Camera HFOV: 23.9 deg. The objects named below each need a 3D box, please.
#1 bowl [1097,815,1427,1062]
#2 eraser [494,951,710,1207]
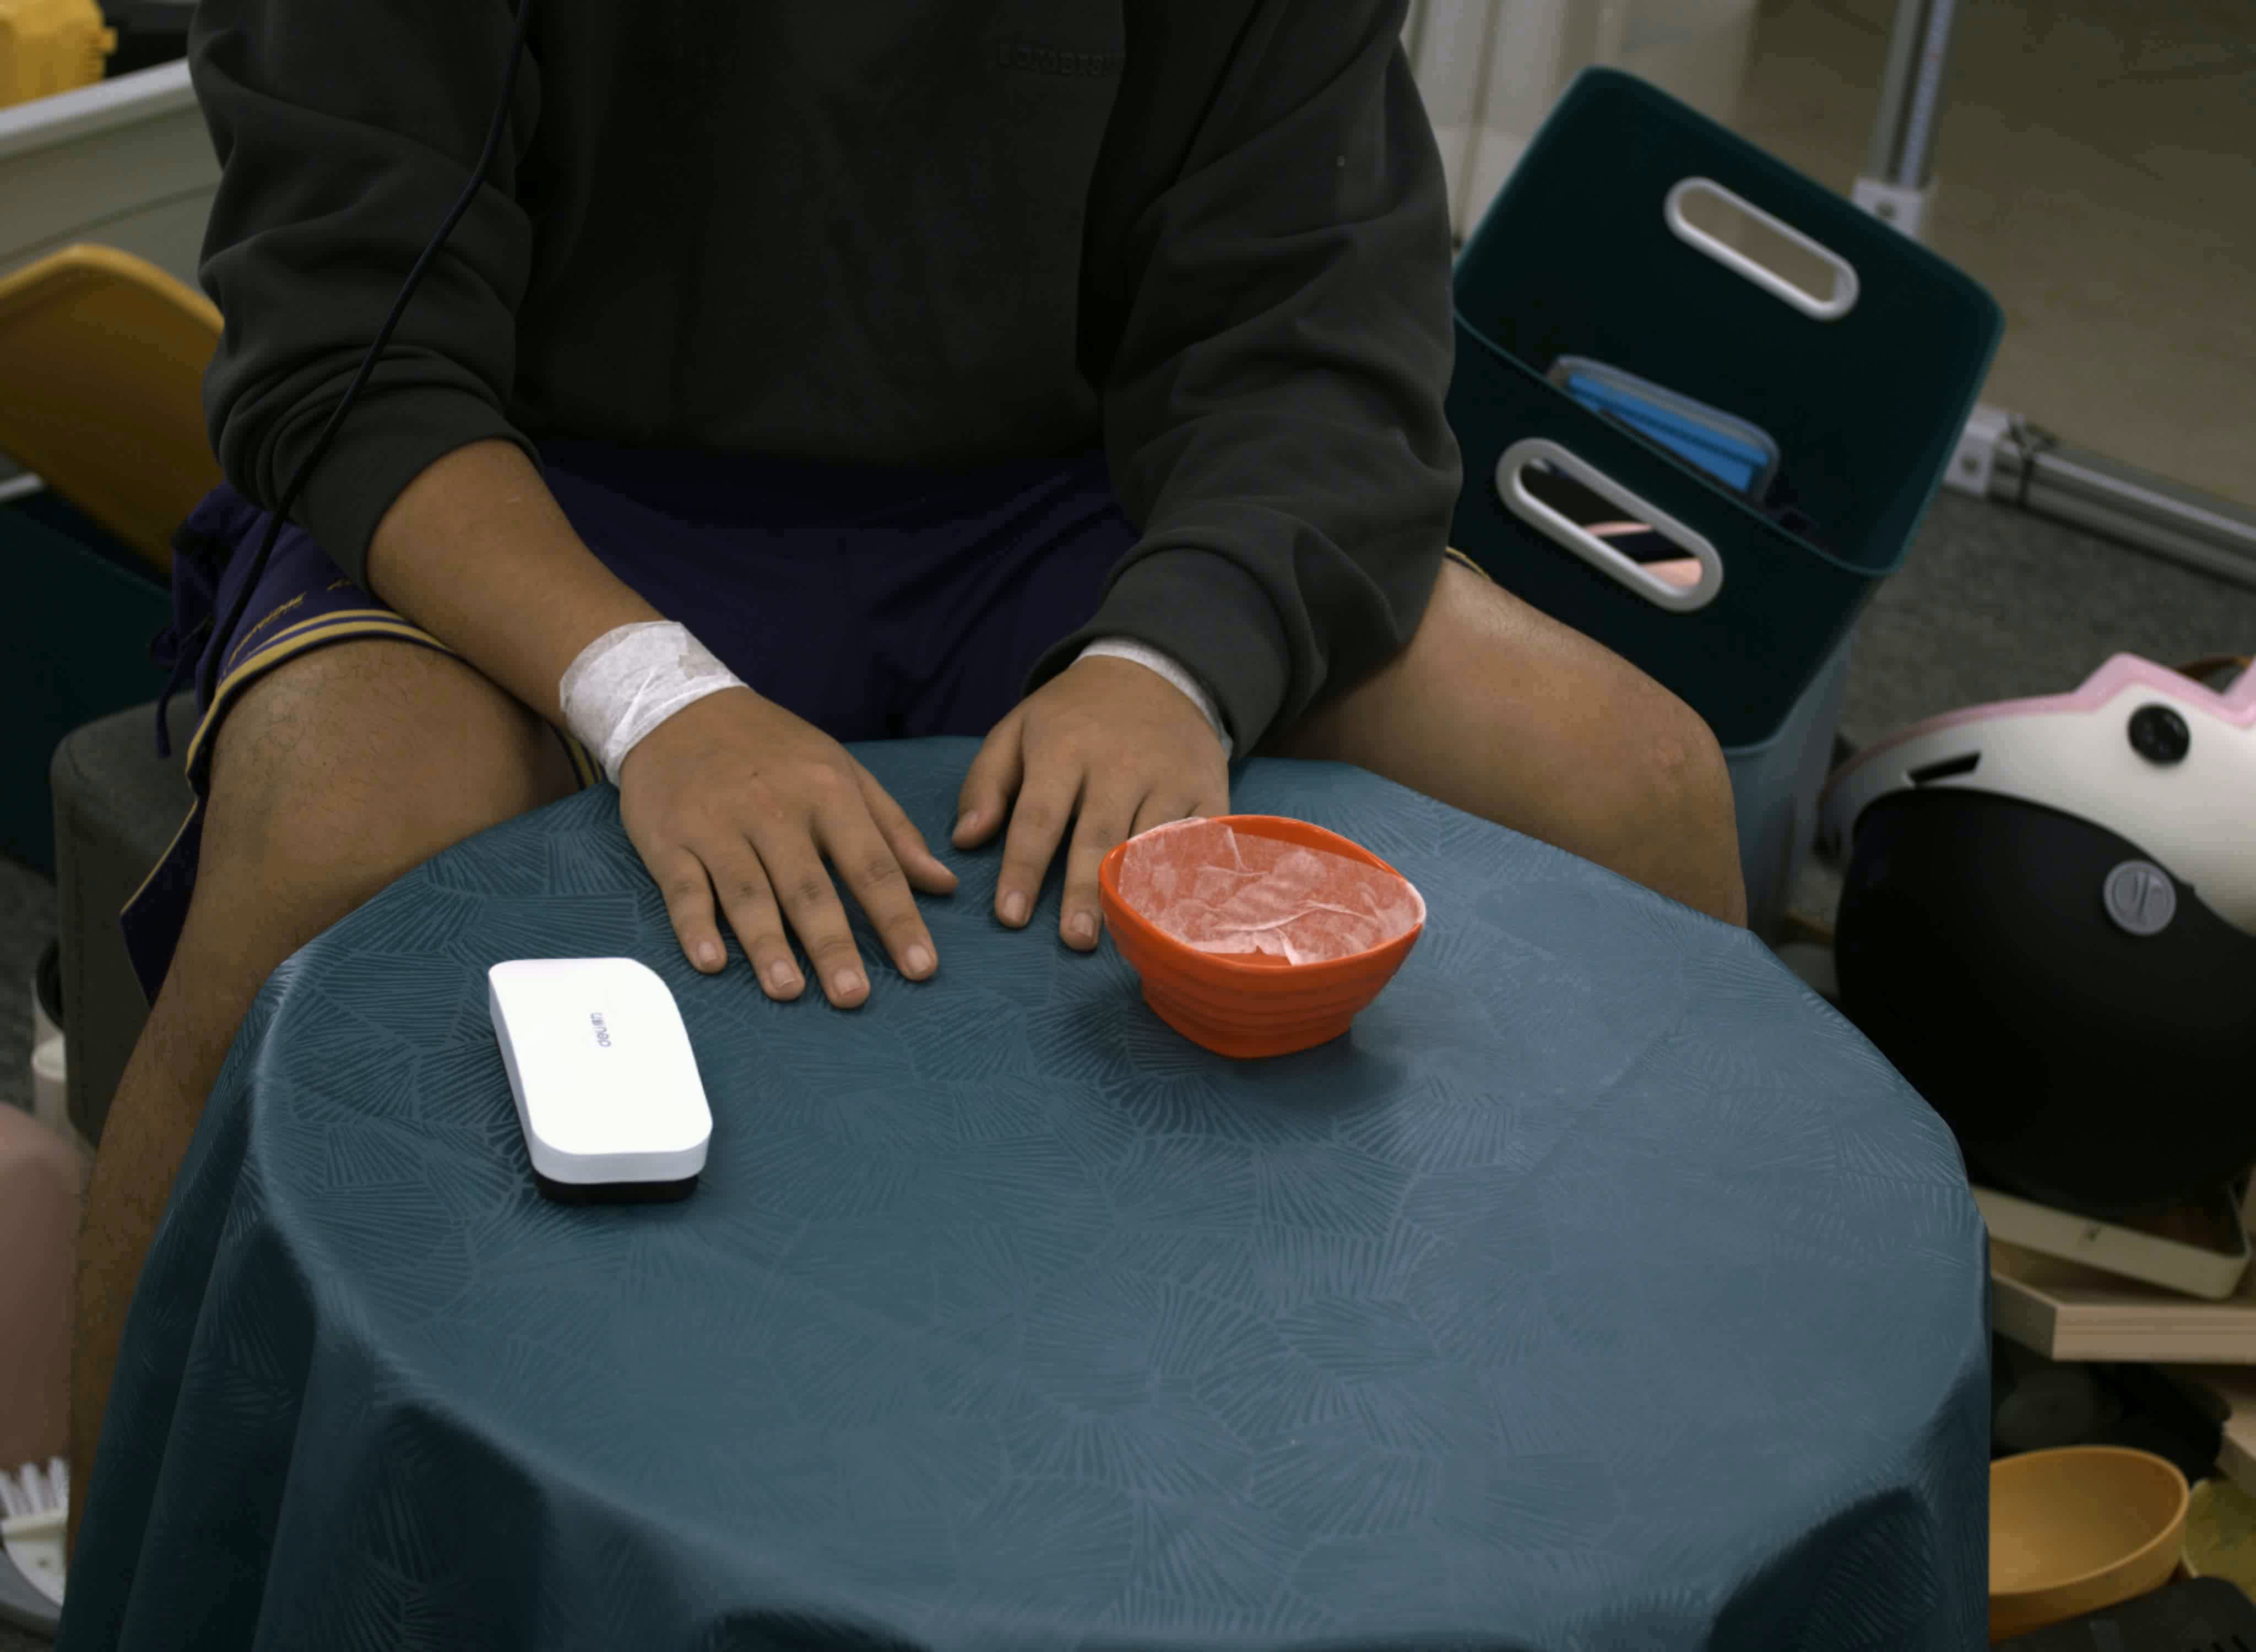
[{"bbox_3d":[0.046,0.044,1.912,0.118,0.051,0.119,4,27,-3],"label":"bowl"},{"bbox_3d":[-0.179,0.082,1.807,0.063,0.034,0.132,1,29,-14],"label":"eraser"}]
